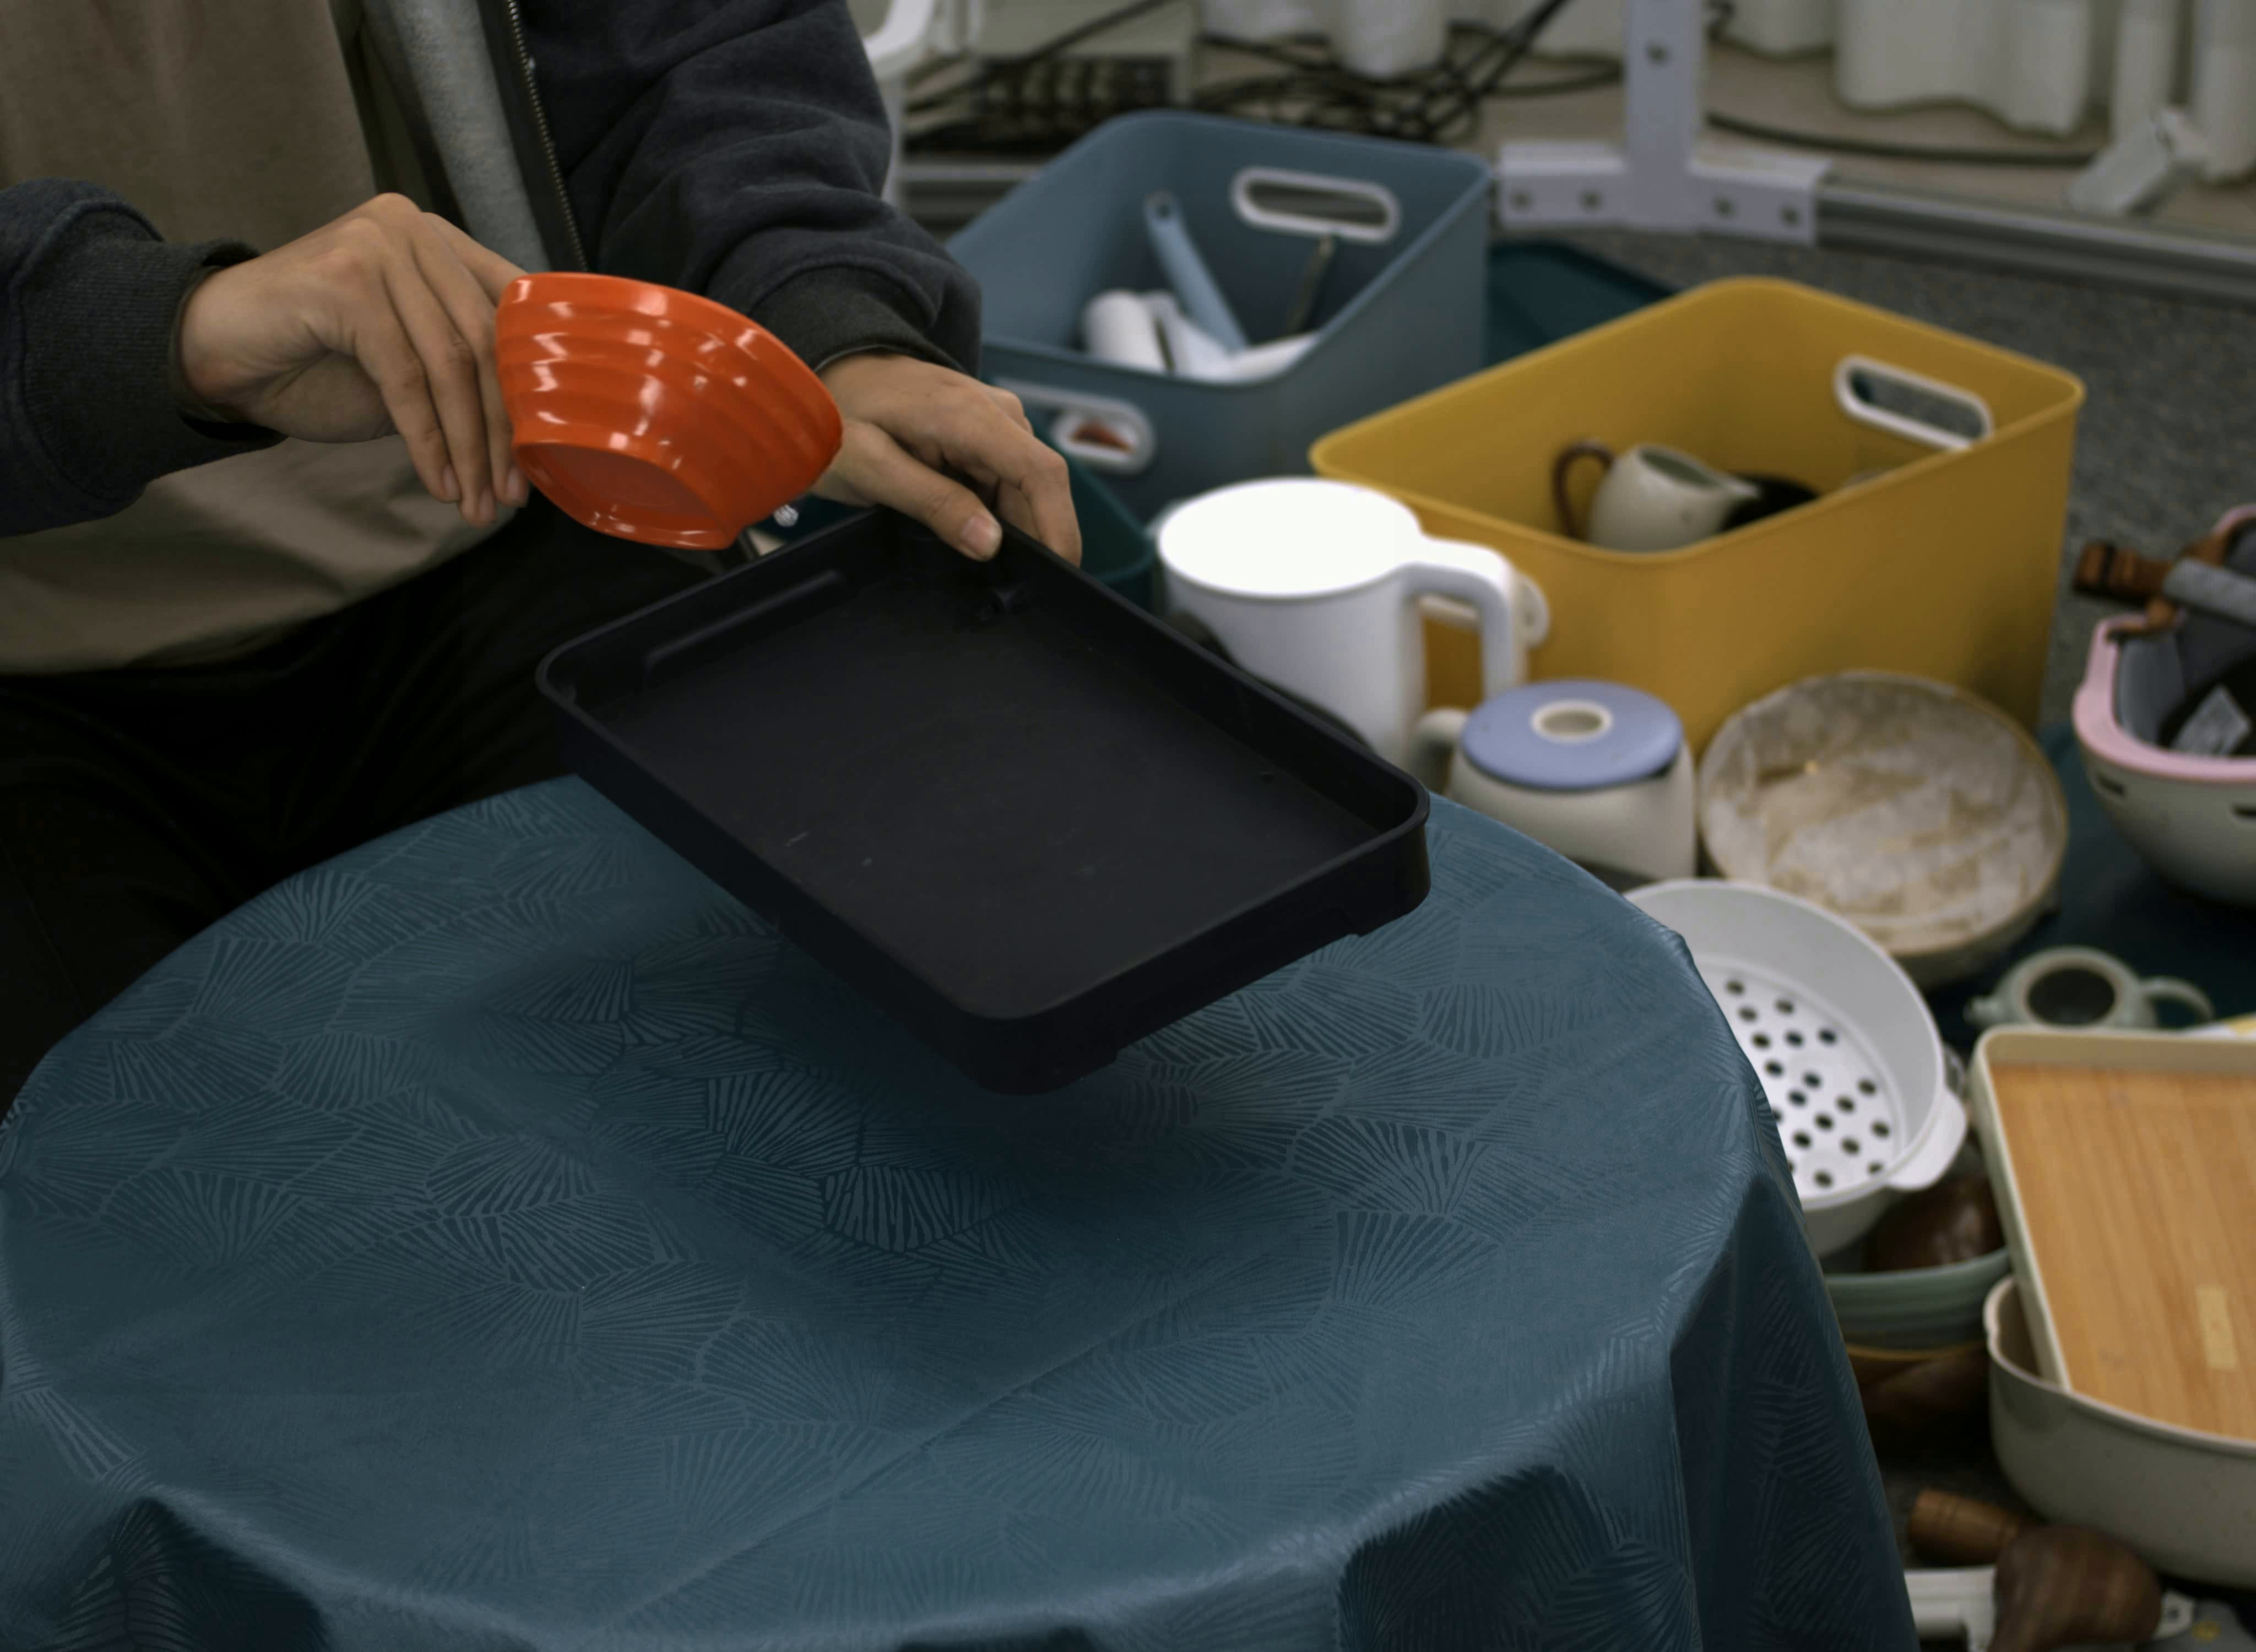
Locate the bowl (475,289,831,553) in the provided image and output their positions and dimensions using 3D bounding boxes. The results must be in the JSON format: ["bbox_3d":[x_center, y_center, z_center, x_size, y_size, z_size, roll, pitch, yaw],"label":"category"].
[{"bbox_3d":[-0.157,-0.124,1.788,0.118,0.052,0.118,19,-9,4],"label":"bowl"}]

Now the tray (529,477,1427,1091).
[{"bbox_3d":[-0.055,-0.021,1.921,0.186,0.036,0.319,-25,36,-26],"label":"tray"}]
